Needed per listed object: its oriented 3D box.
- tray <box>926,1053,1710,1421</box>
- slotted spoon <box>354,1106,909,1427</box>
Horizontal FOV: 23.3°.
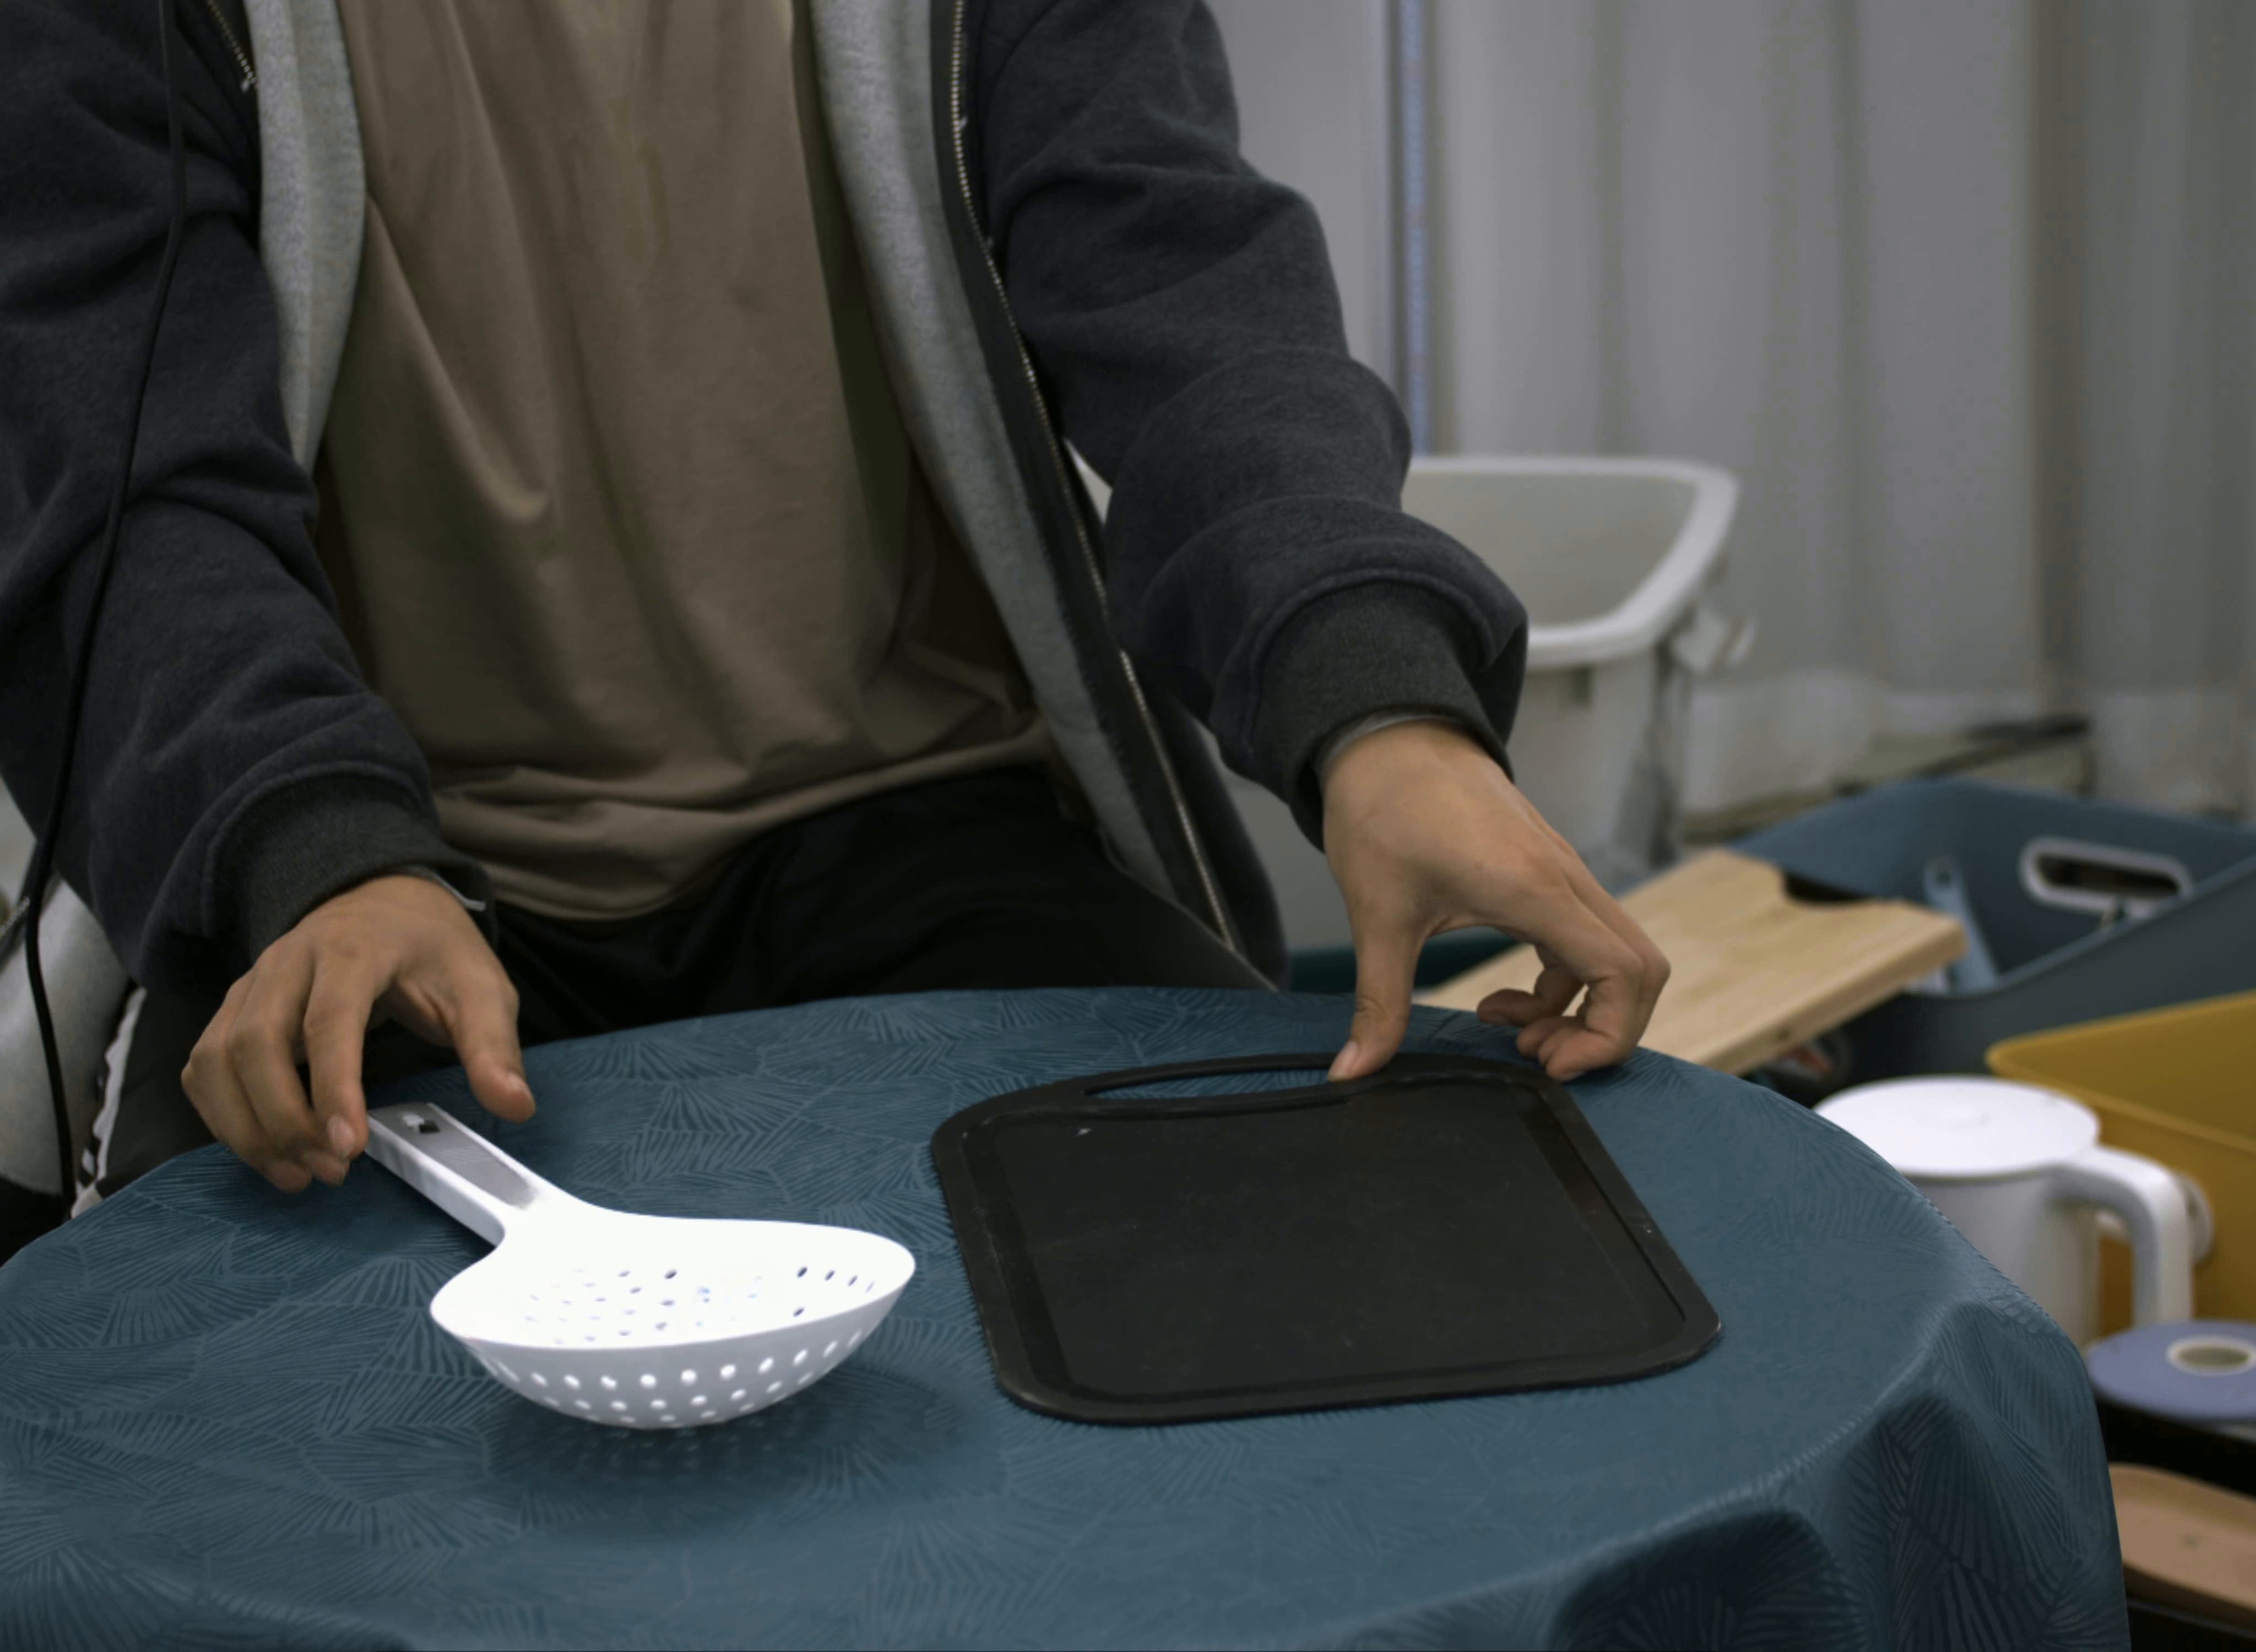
[{"bbox_3d":[0.049,0.119,1.679,0.210,0.010,0.328,-4,15,-6],"label":"tray"},{"bbox_3d":[-0.172,0.122,1.634,0.135,0.045,0.352,-7,14,-23],"label":"slotted spoon"}]
